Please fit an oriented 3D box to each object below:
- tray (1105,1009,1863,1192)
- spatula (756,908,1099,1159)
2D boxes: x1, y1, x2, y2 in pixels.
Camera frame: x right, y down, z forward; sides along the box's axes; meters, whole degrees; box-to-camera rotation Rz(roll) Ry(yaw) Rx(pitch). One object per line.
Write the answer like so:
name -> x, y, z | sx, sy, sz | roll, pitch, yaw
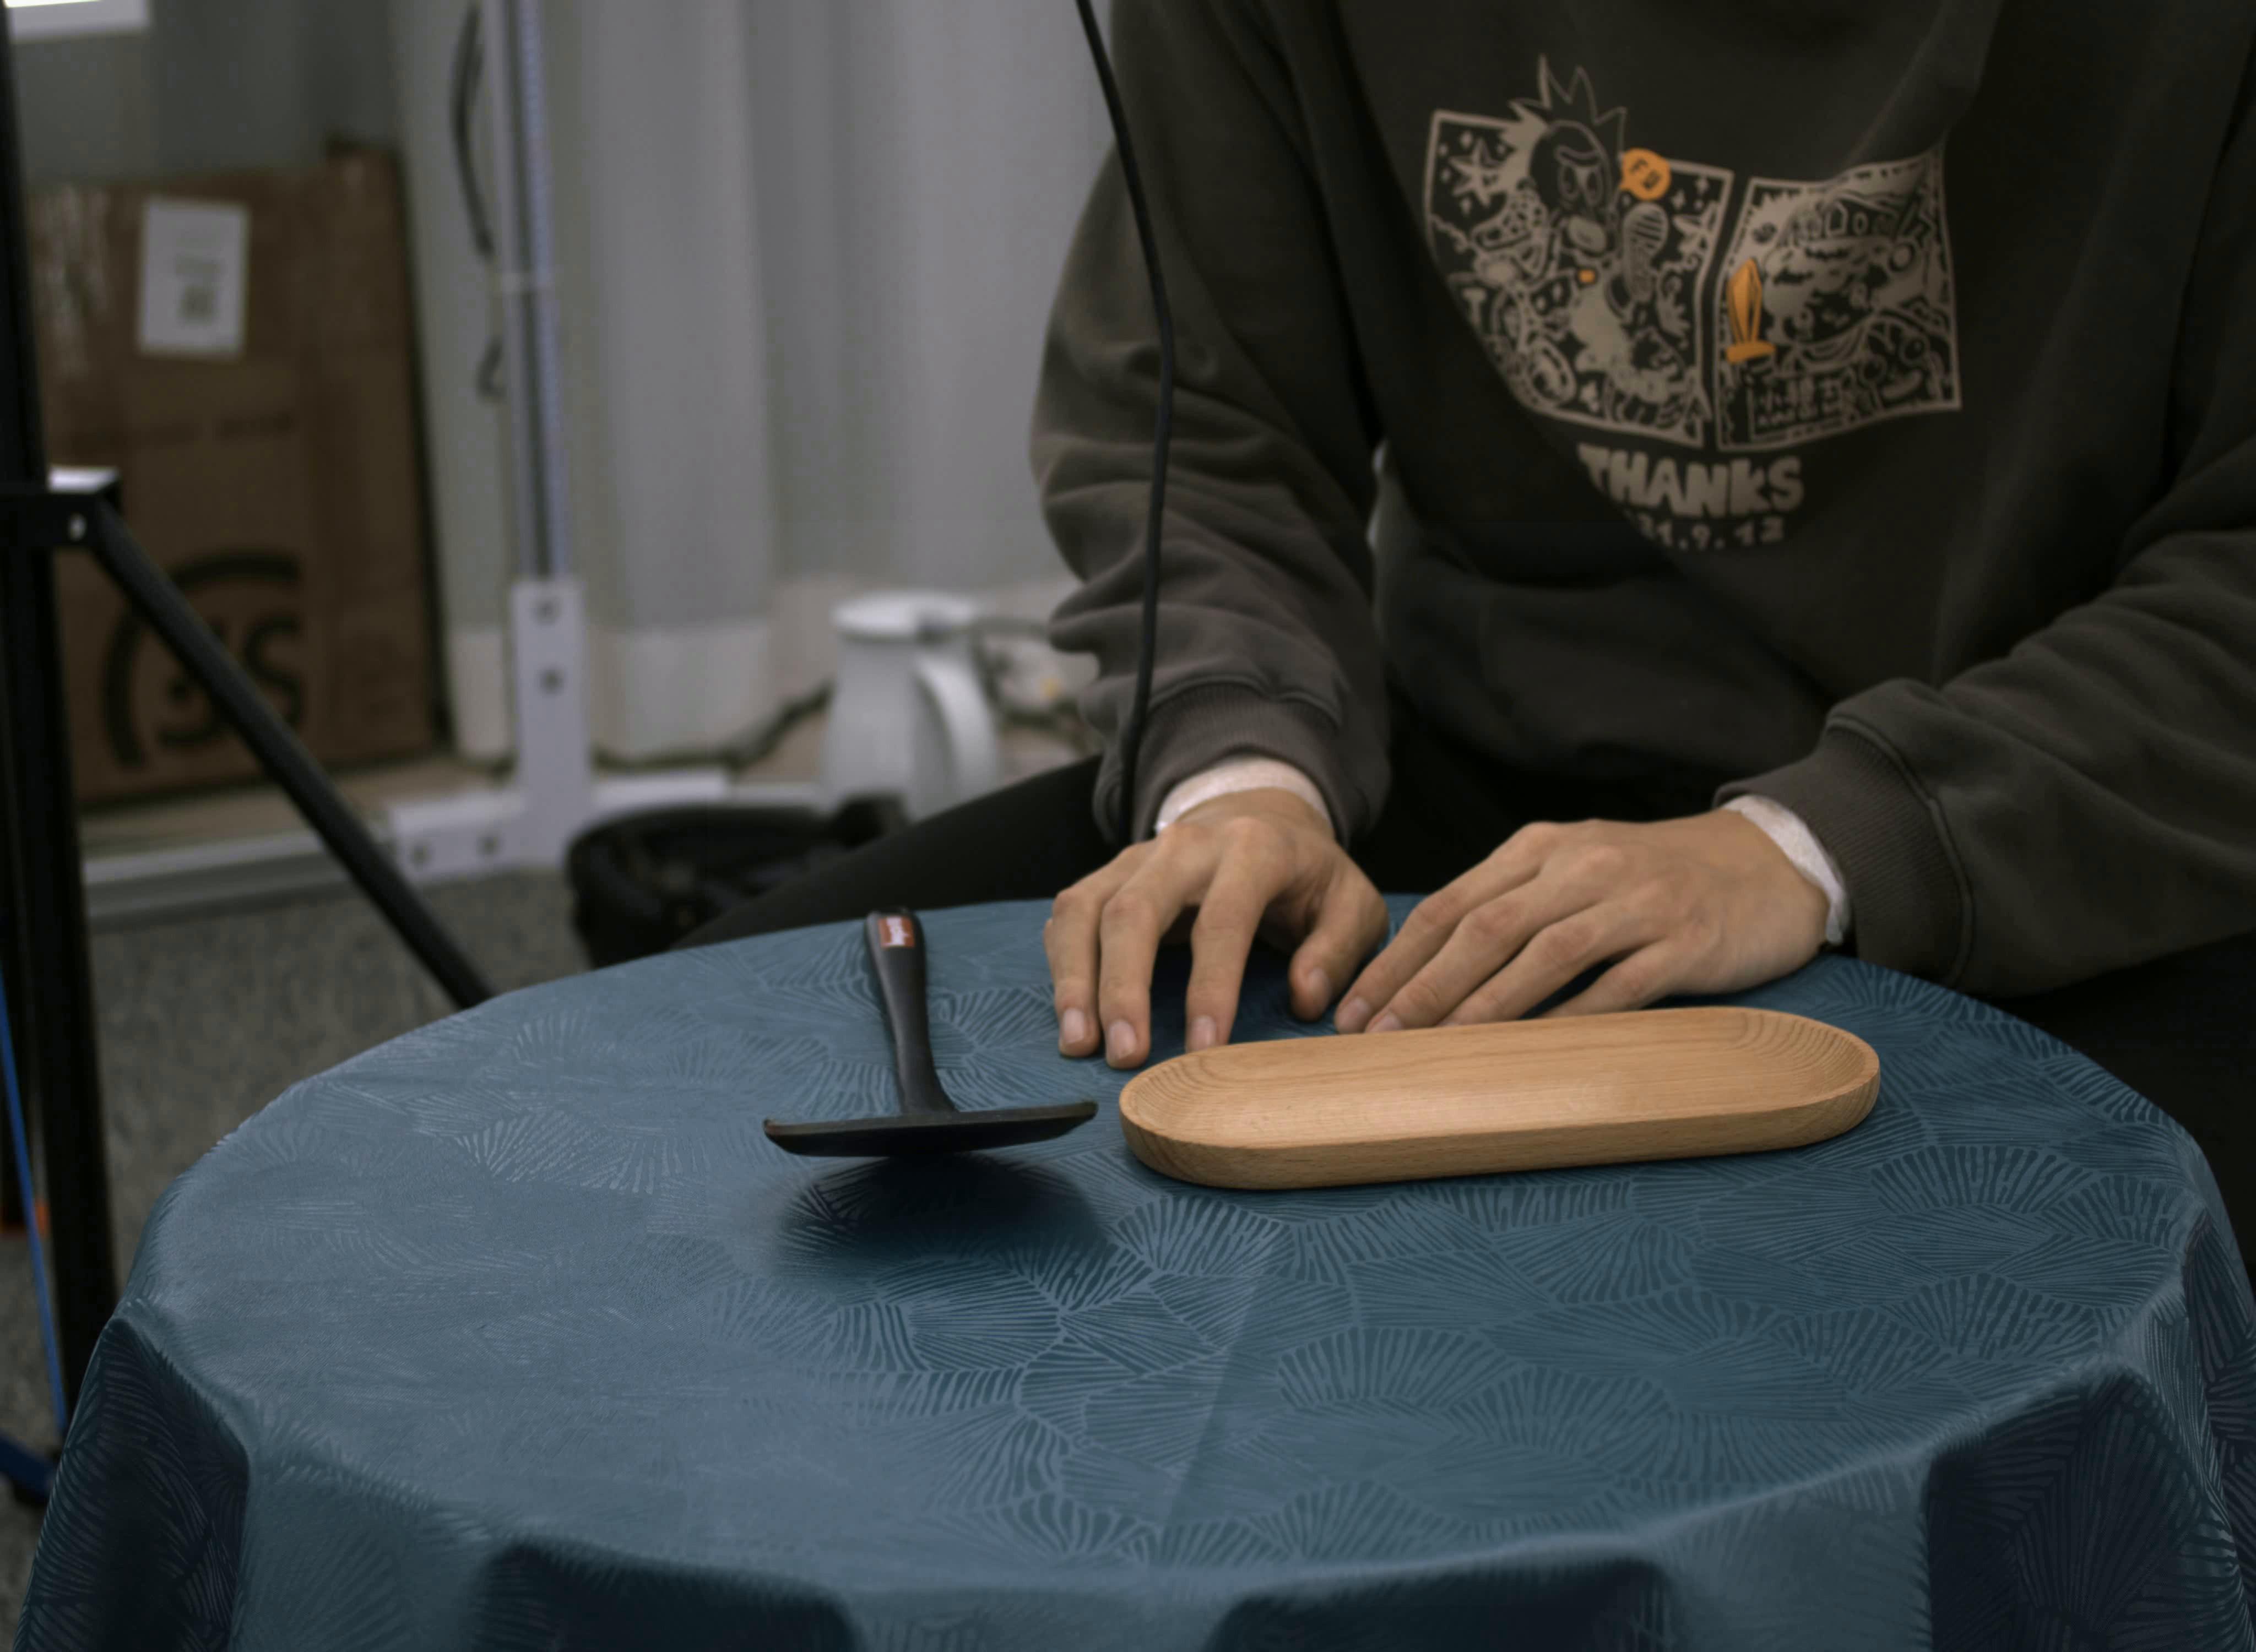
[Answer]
tray -> 0.108, 0.083, 1.602 | 0.229, 0.020, 0.102 | -5, 15, -4
spatula -> -0.070, 0.060, 1.676 | 0.099, 0.040, 0.328 | -3, 16, -4
